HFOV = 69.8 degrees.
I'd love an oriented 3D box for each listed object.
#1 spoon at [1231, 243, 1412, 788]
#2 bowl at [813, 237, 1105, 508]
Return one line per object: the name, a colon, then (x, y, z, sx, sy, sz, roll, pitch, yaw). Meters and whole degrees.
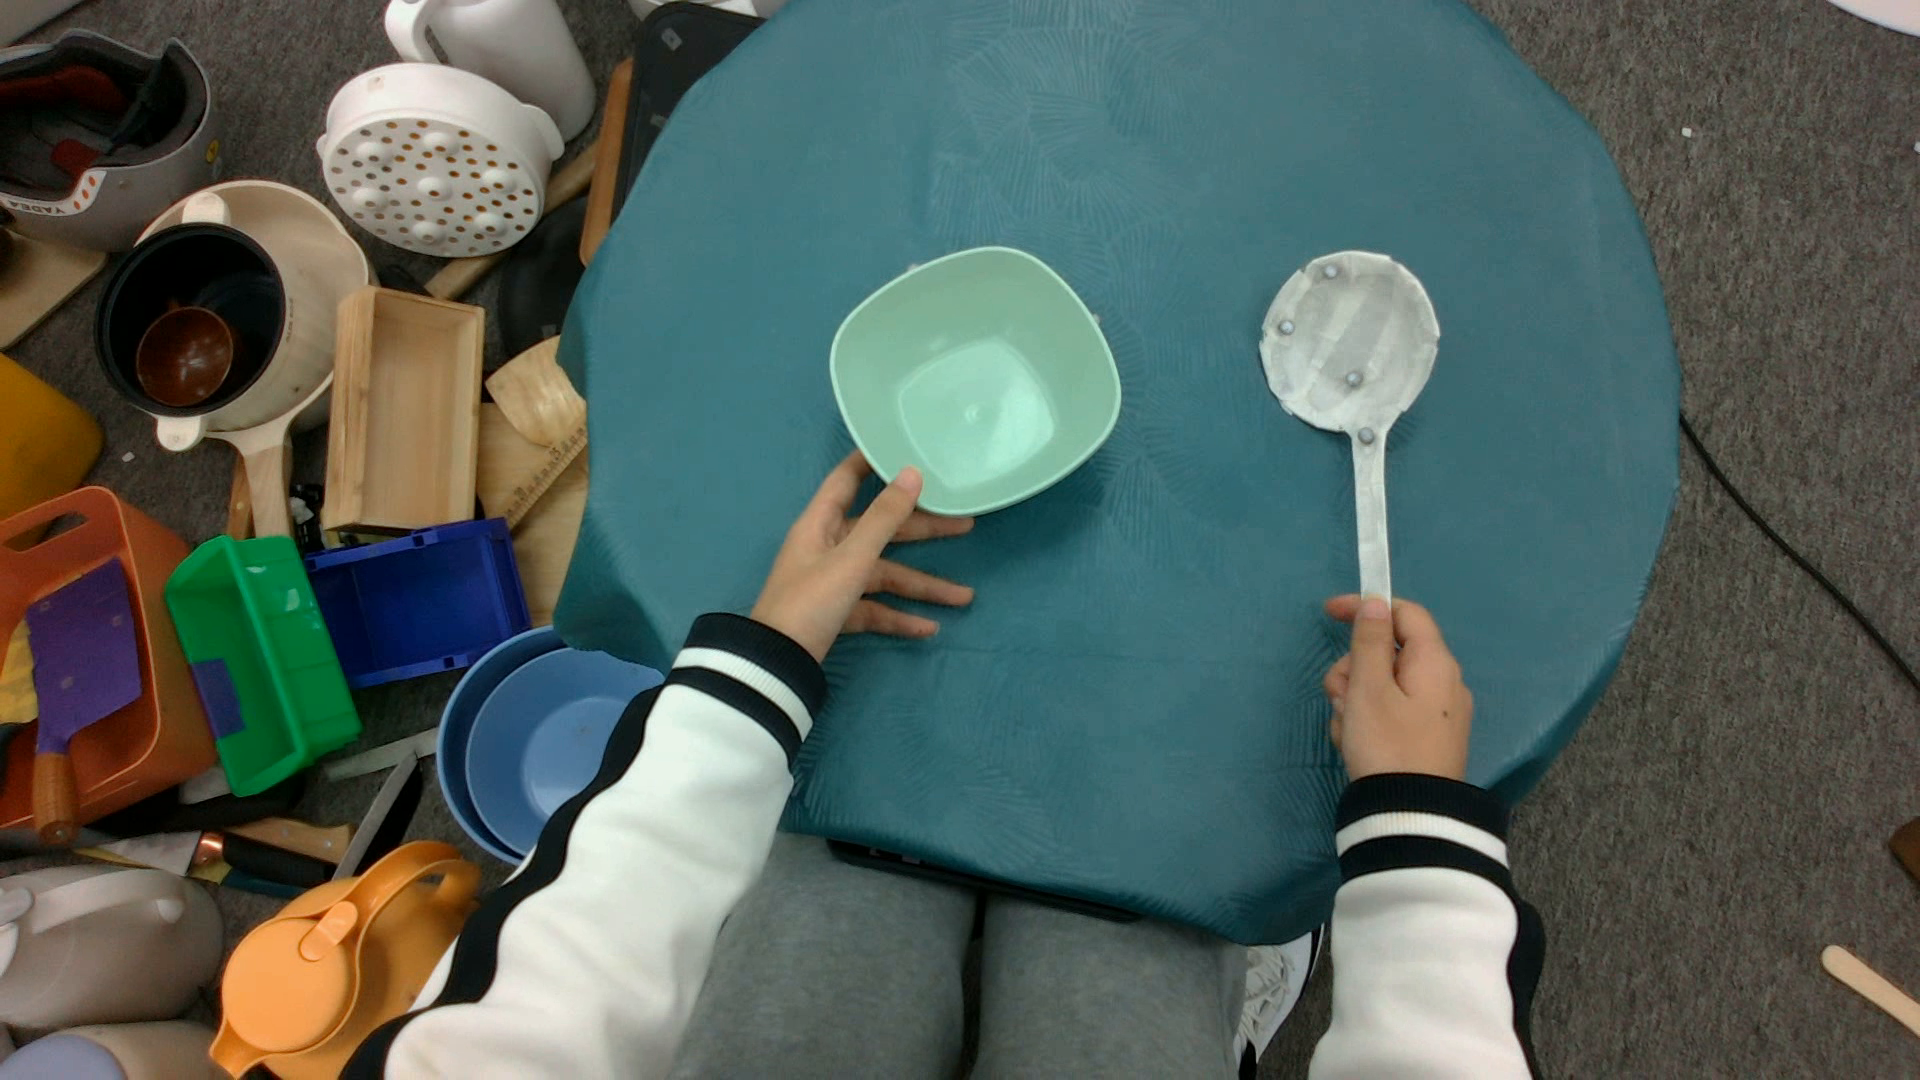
spoon: (0.177, -0.019, 0.686, 0.059, 0.100, 0.278, 29, 58, -37)
bowl: (-0.001, -0.080, 0.725, 0.151, 0.058, 0.152, 0, 73, 1)
